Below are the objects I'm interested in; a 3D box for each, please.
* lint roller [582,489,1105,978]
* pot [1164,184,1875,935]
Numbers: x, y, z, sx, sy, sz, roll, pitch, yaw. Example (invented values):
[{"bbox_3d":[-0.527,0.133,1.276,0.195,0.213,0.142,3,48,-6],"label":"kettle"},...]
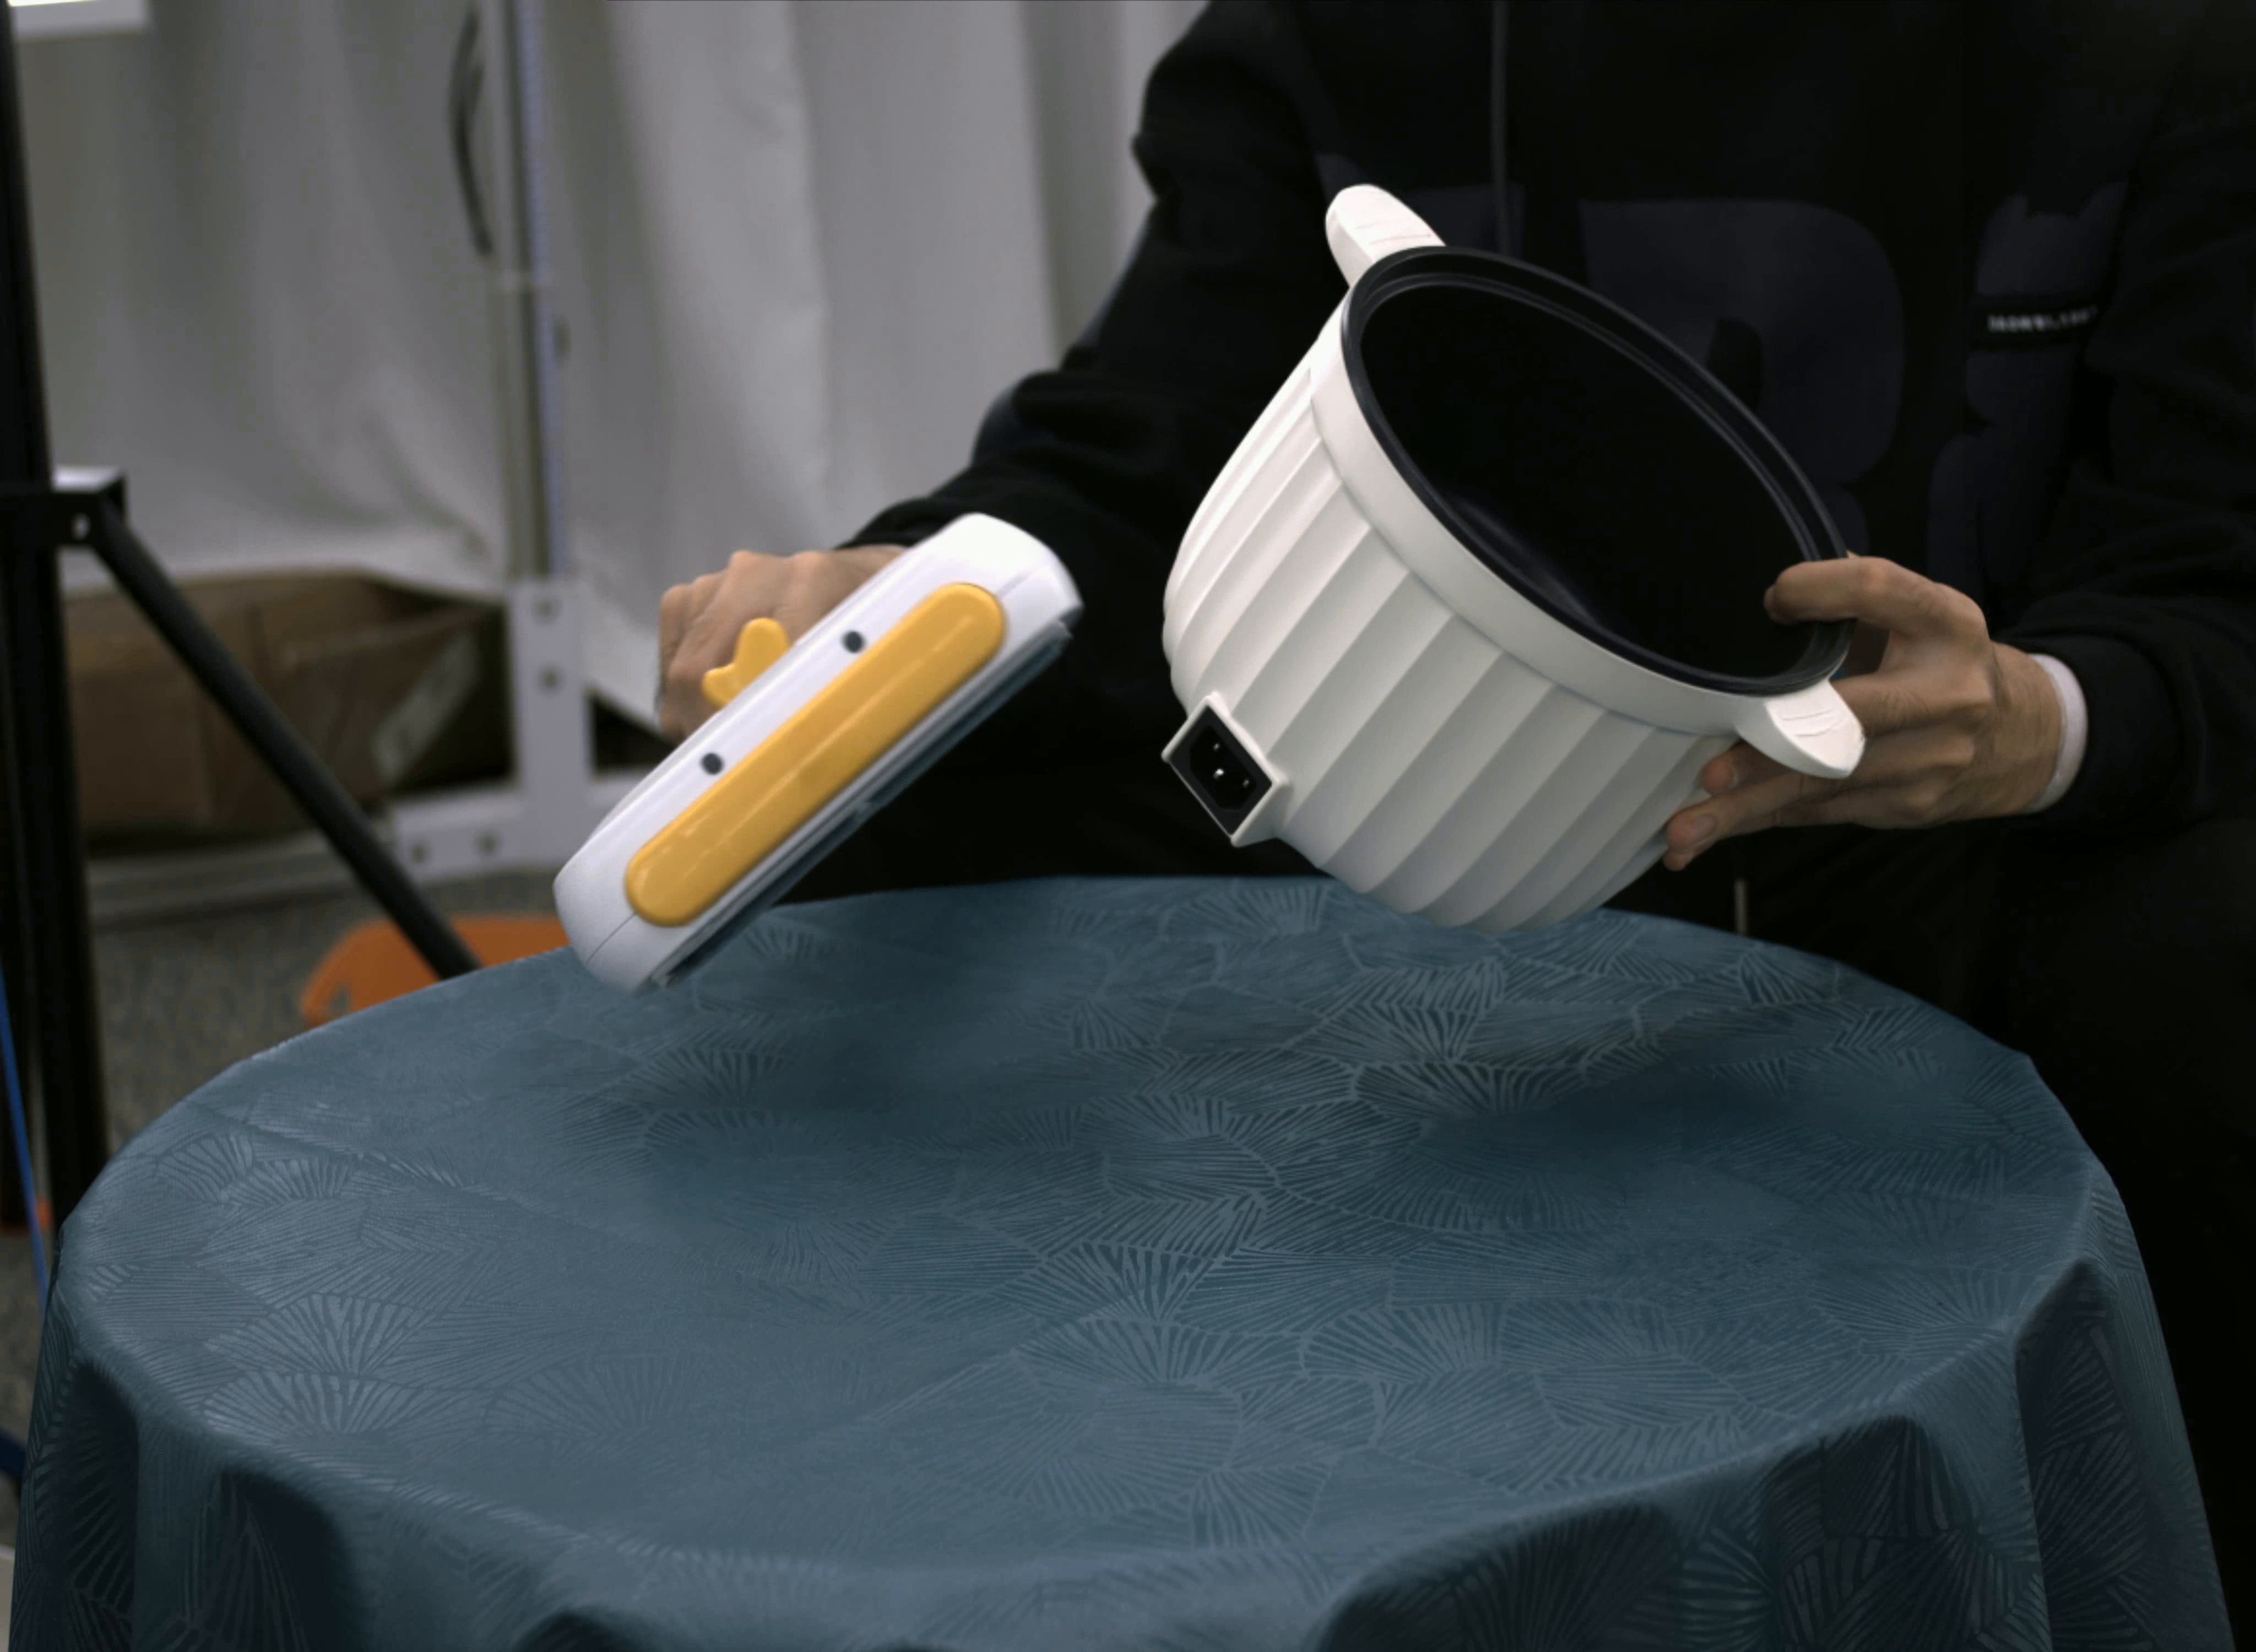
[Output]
[{"bbox_3d":[-0.101,-0.033,1.716,0.192,0.074,0.193,-45,5,-5],"label":"lint roller"},{"bbox_3d":[0.109,-0.065,1.597,0.186,0.144,0.244,-16,61,-47],"label":"pot"}]
